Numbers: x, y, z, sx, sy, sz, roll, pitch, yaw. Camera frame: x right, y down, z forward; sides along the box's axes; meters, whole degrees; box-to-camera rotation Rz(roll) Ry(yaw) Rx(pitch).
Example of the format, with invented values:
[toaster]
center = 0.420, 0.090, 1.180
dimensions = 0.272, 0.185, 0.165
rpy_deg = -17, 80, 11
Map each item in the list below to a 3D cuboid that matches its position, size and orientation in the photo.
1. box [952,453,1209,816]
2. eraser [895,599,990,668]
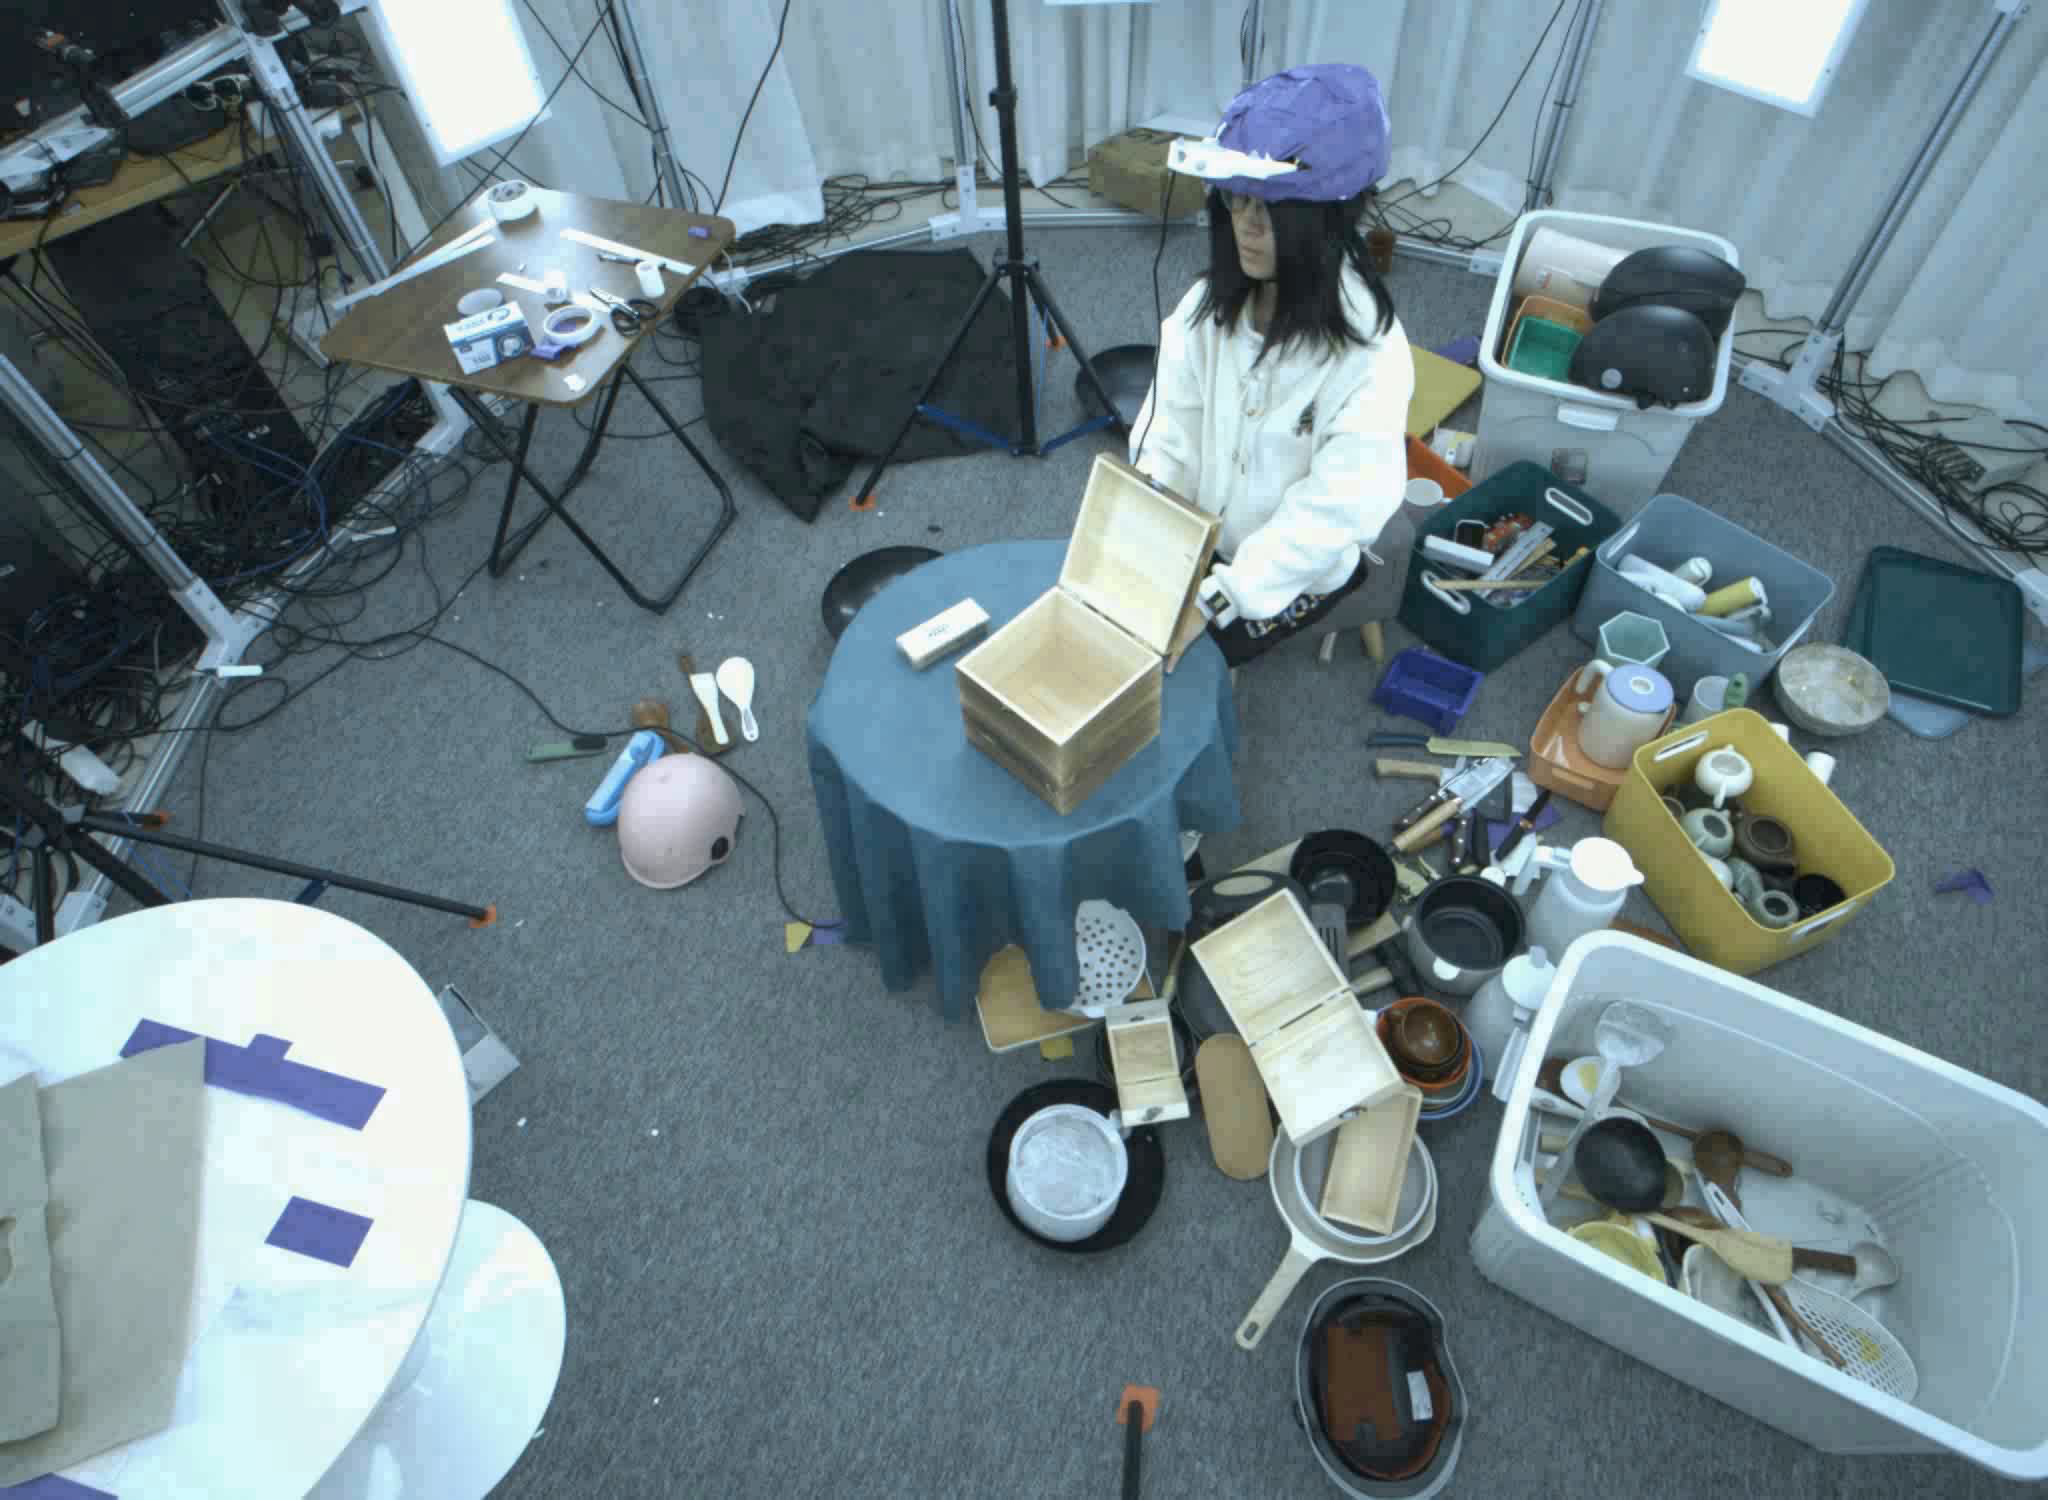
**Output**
[box]
center = 0.078, -0.159, 1.673
dimensions = 0.205, 0.380, 0.324
rpy_deg = 36, 64, 26
[eraser]
center = -0.126, -0.181, 1.903
dimensions = 0.140, 0.029, 0.056
rpy_deg = -30, 56, -19
